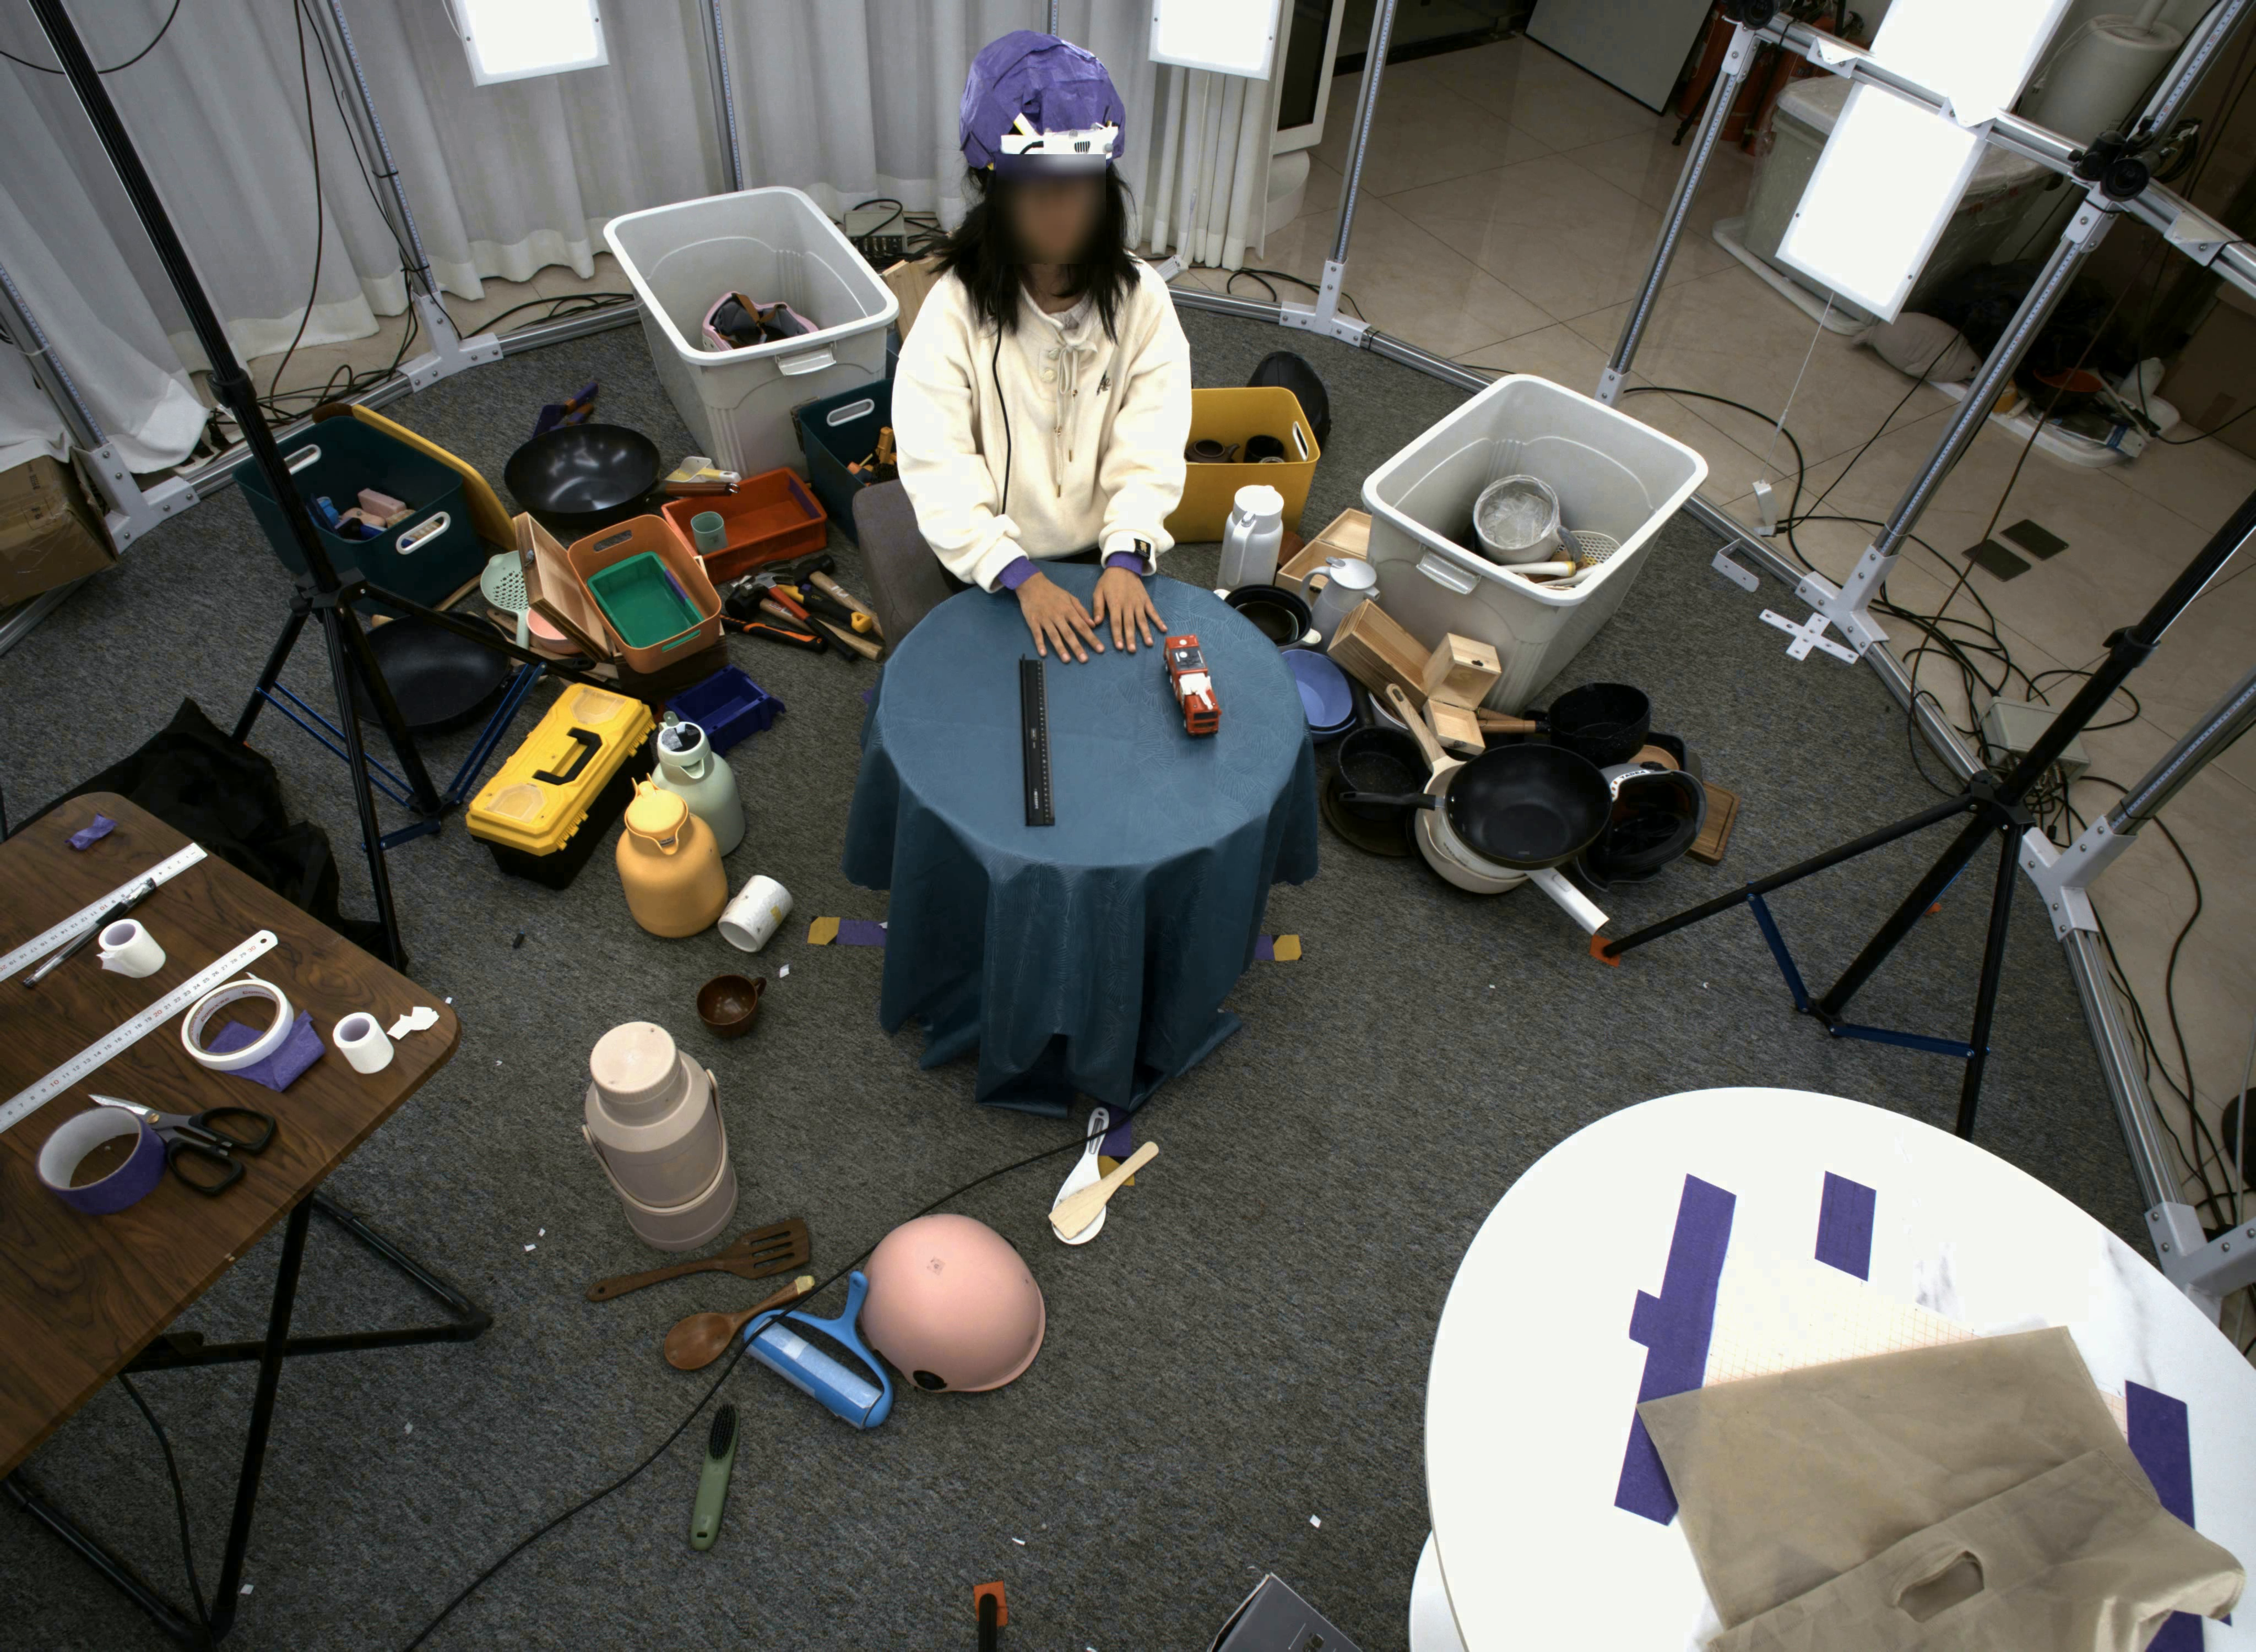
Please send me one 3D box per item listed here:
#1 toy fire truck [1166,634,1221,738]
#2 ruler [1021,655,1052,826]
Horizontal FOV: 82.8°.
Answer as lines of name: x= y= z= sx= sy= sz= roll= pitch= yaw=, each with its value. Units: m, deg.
toy fire truck: x=0.091 y=-0.199 z=1.811 sx=0.054 sy=0.068 sz=0.172 roll=-7 pitch=49 yaw=-9
ruler: x=-0.126 y=-0.124 z=1.759 sx=0.039 sy=0.017 sz=0.320 roll=1 pitch=49 yaw=-7
